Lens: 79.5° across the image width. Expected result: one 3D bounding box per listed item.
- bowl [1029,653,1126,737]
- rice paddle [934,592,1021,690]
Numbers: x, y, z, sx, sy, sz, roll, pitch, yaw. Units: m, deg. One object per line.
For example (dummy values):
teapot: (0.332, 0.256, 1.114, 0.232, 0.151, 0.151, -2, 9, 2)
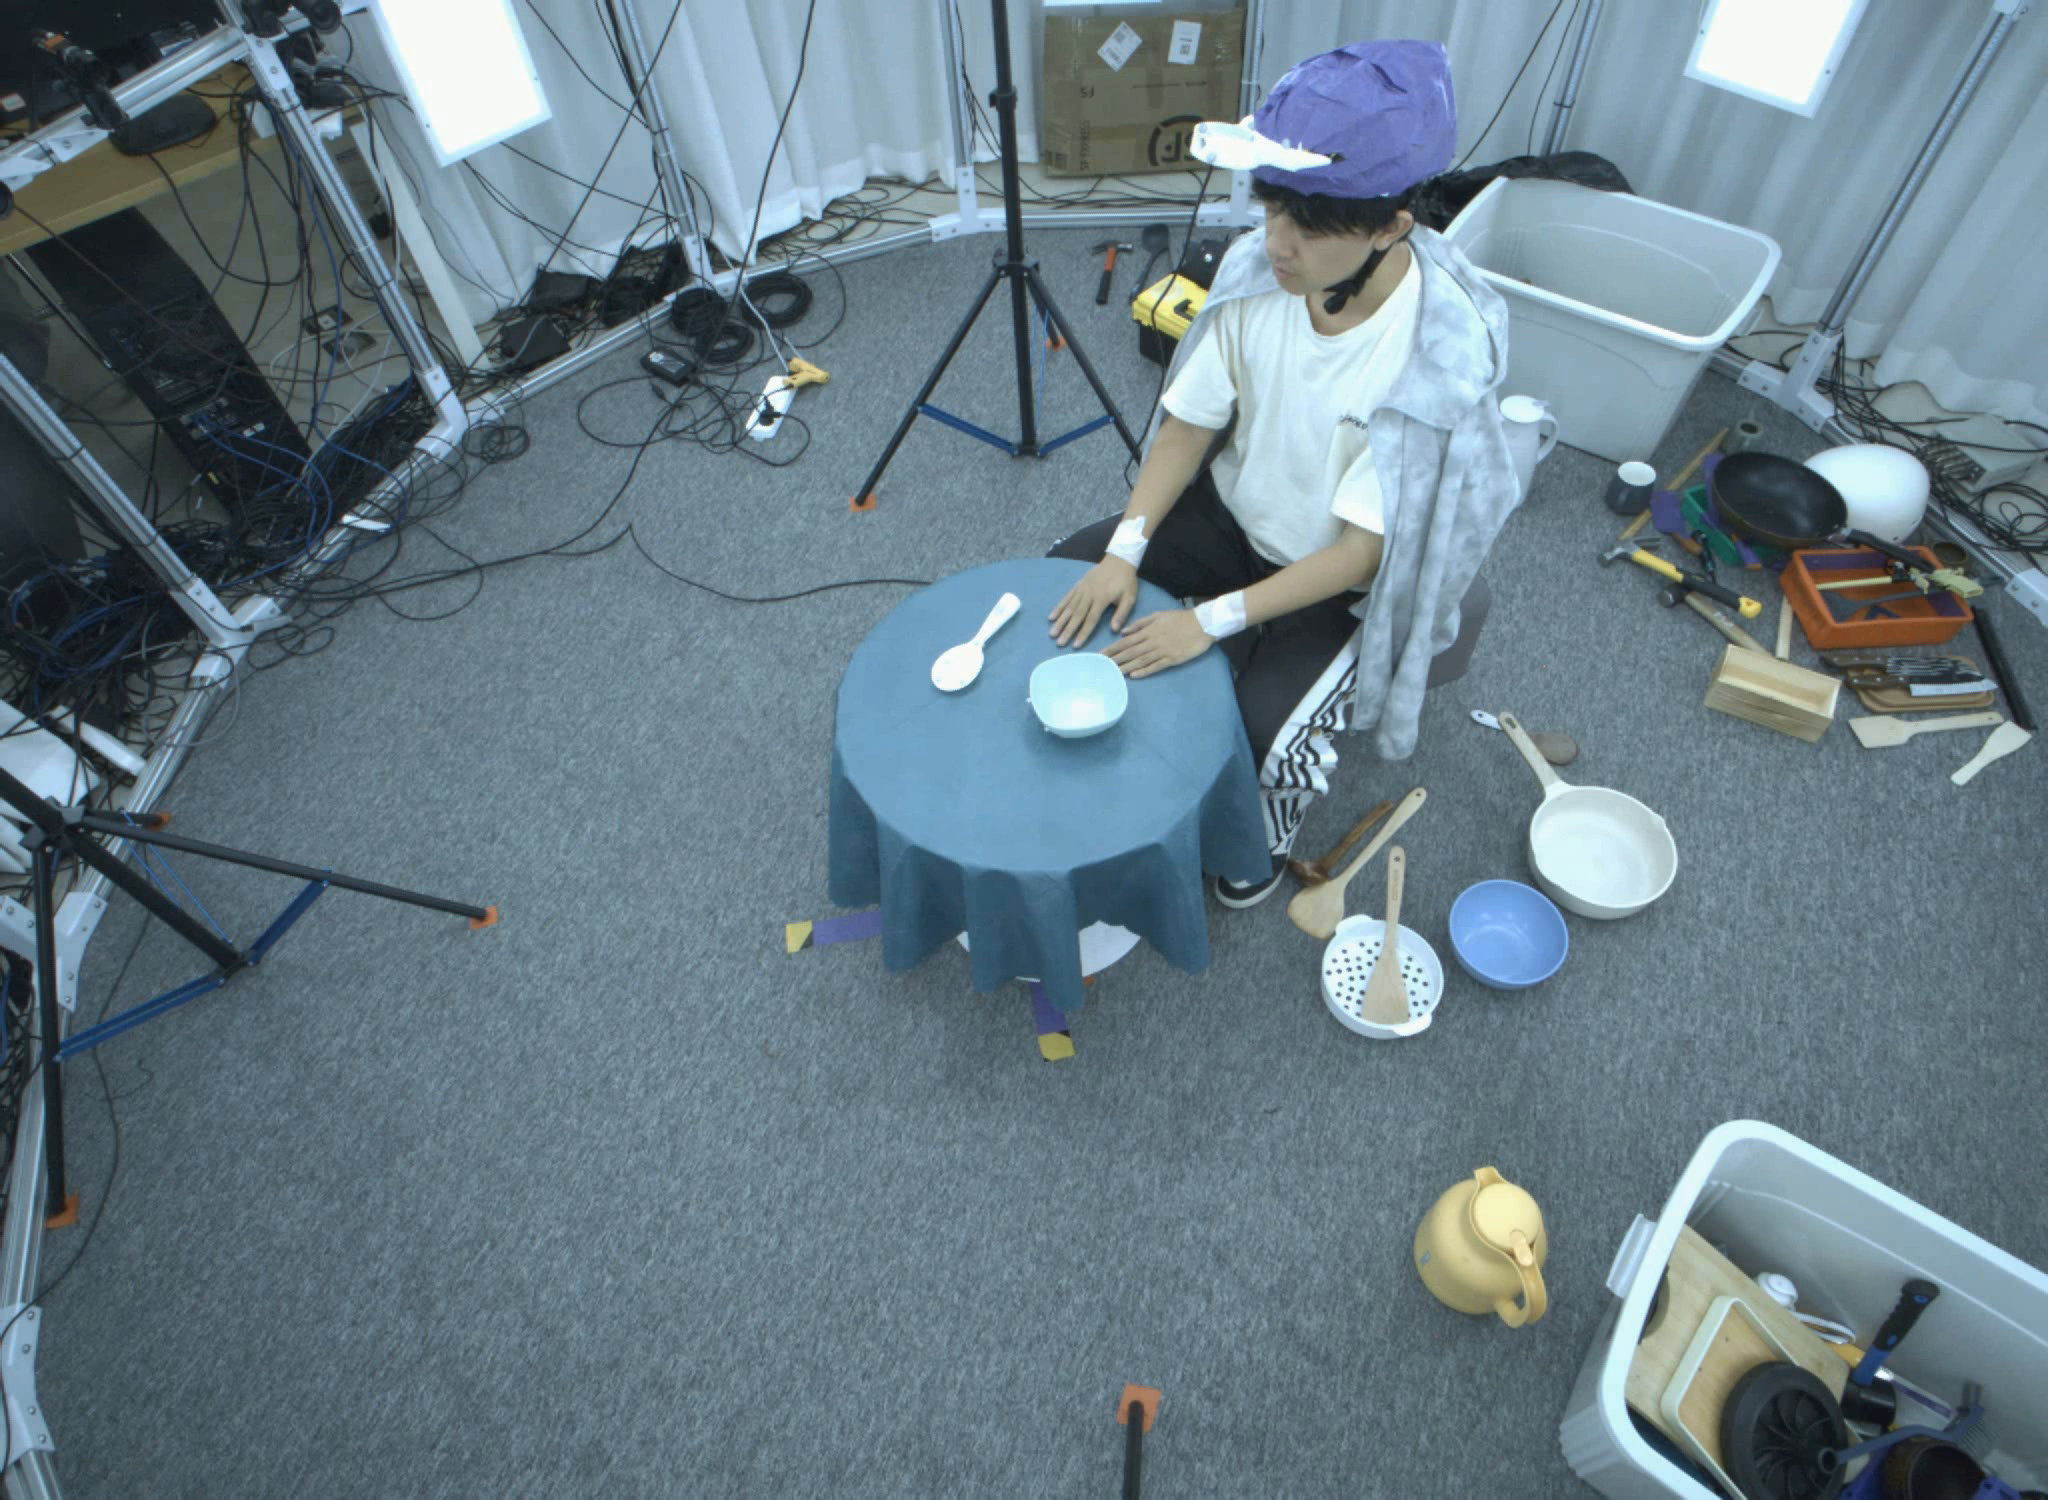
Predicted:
bowl: (0.079, -0.070, 1.799, 0.151, 0.059, 0.150, -3, 53, 5)
rice paddle: (-0.070, -0.167, 1.891, 0.068, 0.030, 0.206, 24, 59, 20)
